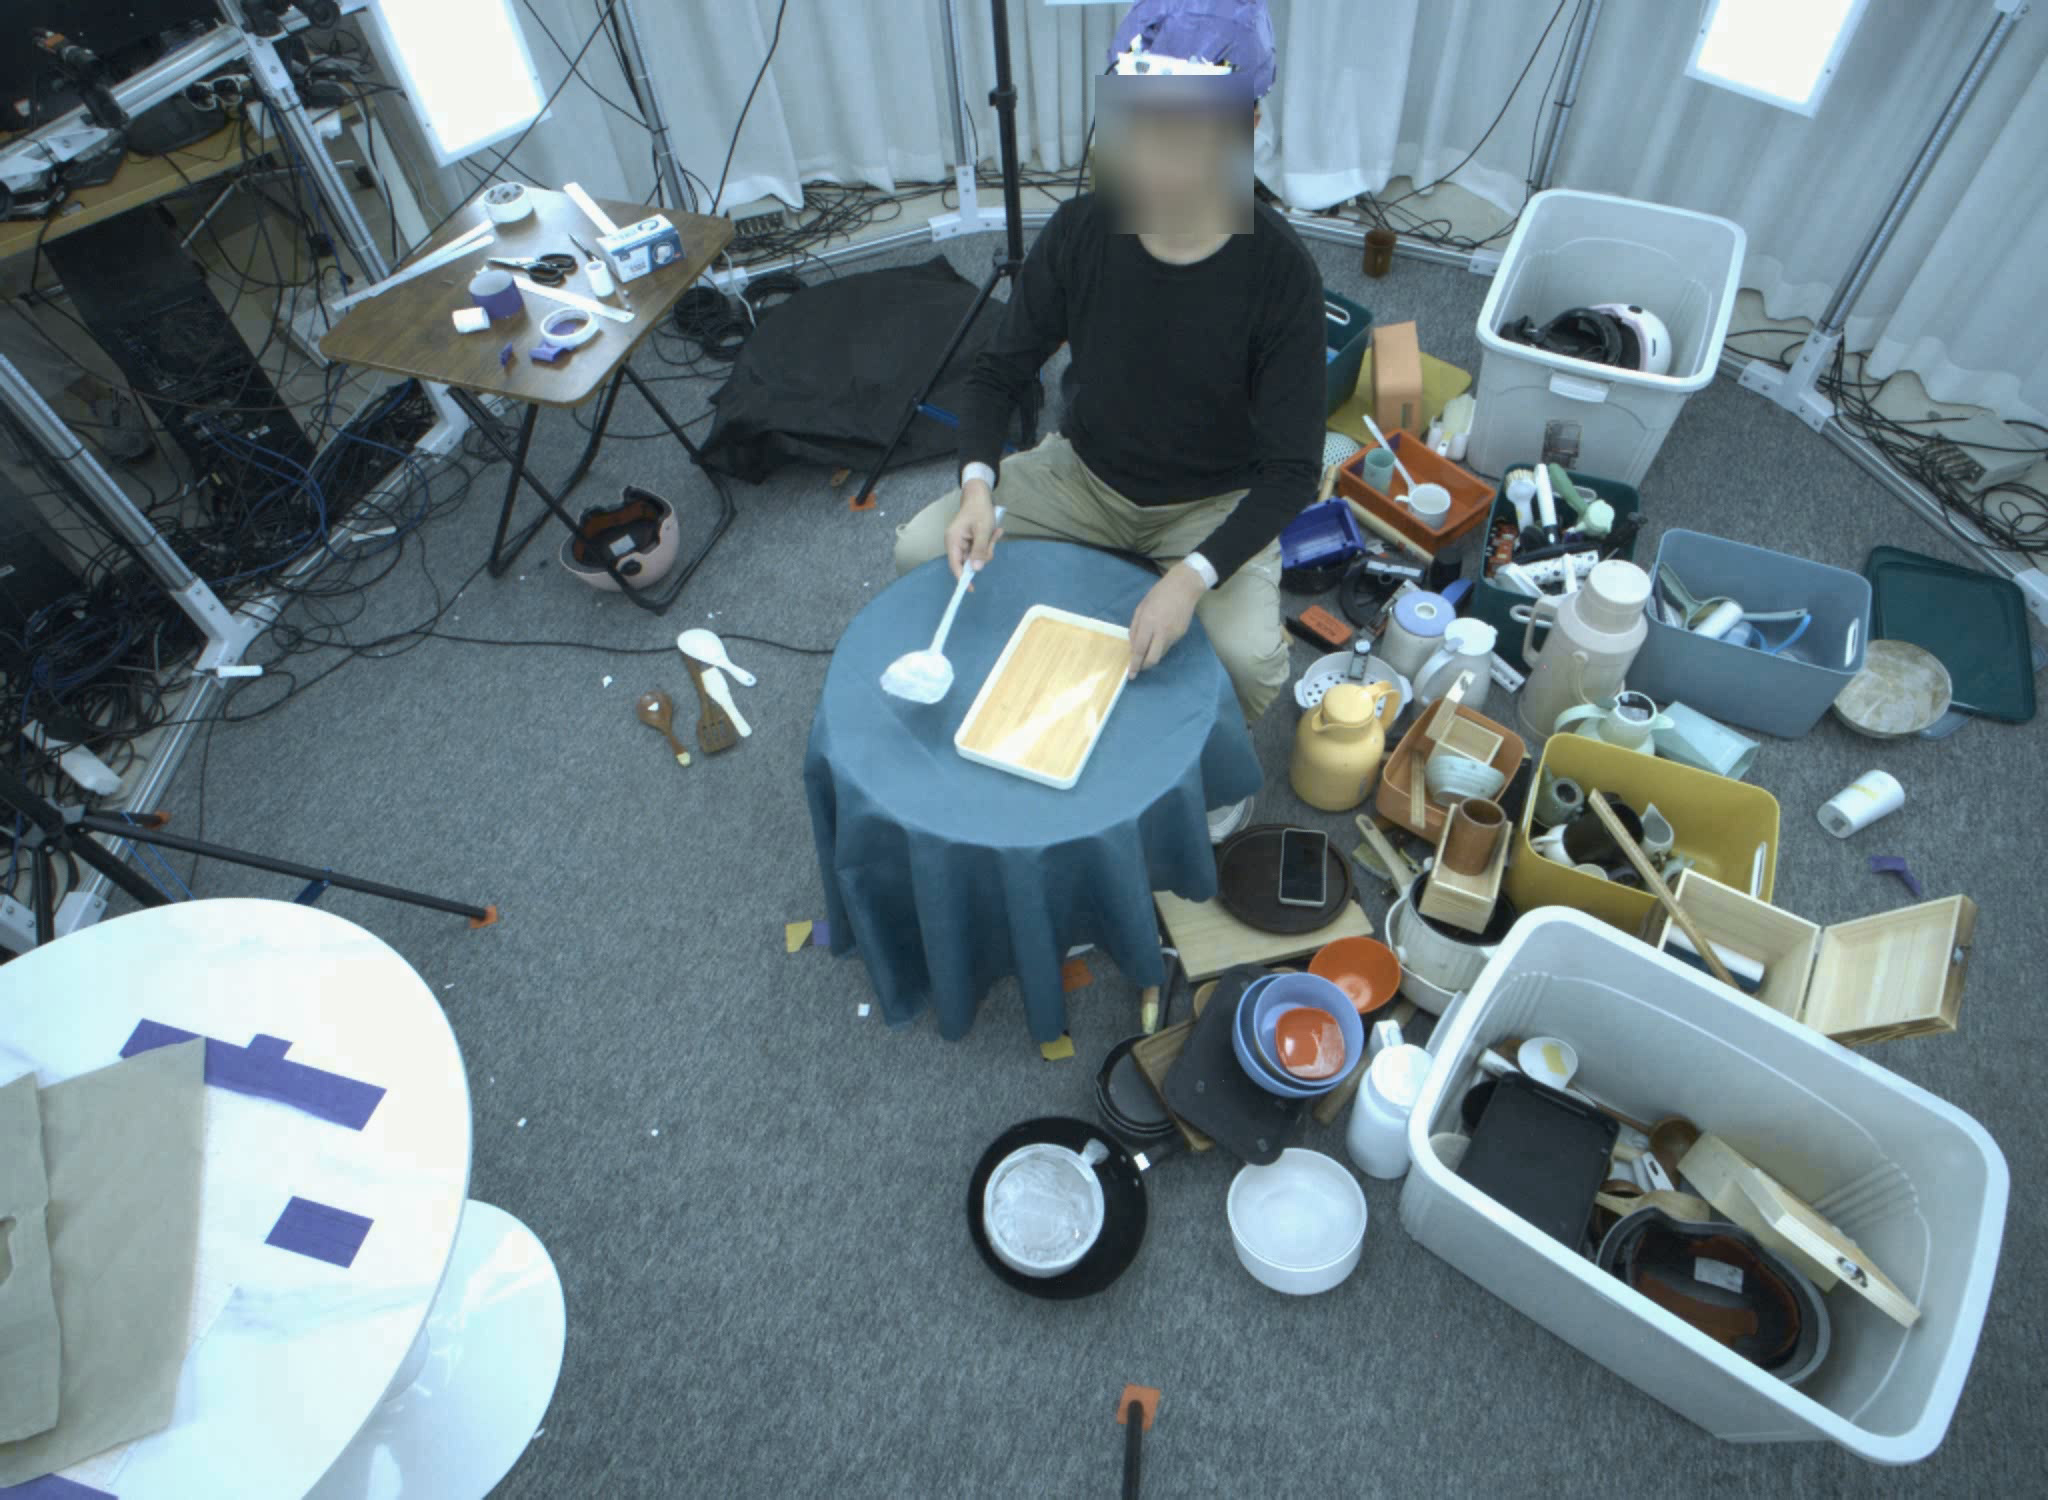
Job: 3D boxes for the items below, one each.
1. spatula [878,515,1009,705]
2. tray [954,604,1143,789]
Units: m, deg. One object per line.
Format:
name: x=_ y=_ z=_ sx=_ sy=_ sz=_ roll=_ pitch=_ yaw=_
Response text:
spatula: x=-0.104 y=-0.220 z=1.828 sx=0.098 sy=0.045 sz=0.364 roll=18 pitch=70 yaw=13
tray: x=0.041 y=-0.086 z=1.830 sx=0.189 sy=0.028 sz=0.300 roll=19 pitch=58 yaw=15
